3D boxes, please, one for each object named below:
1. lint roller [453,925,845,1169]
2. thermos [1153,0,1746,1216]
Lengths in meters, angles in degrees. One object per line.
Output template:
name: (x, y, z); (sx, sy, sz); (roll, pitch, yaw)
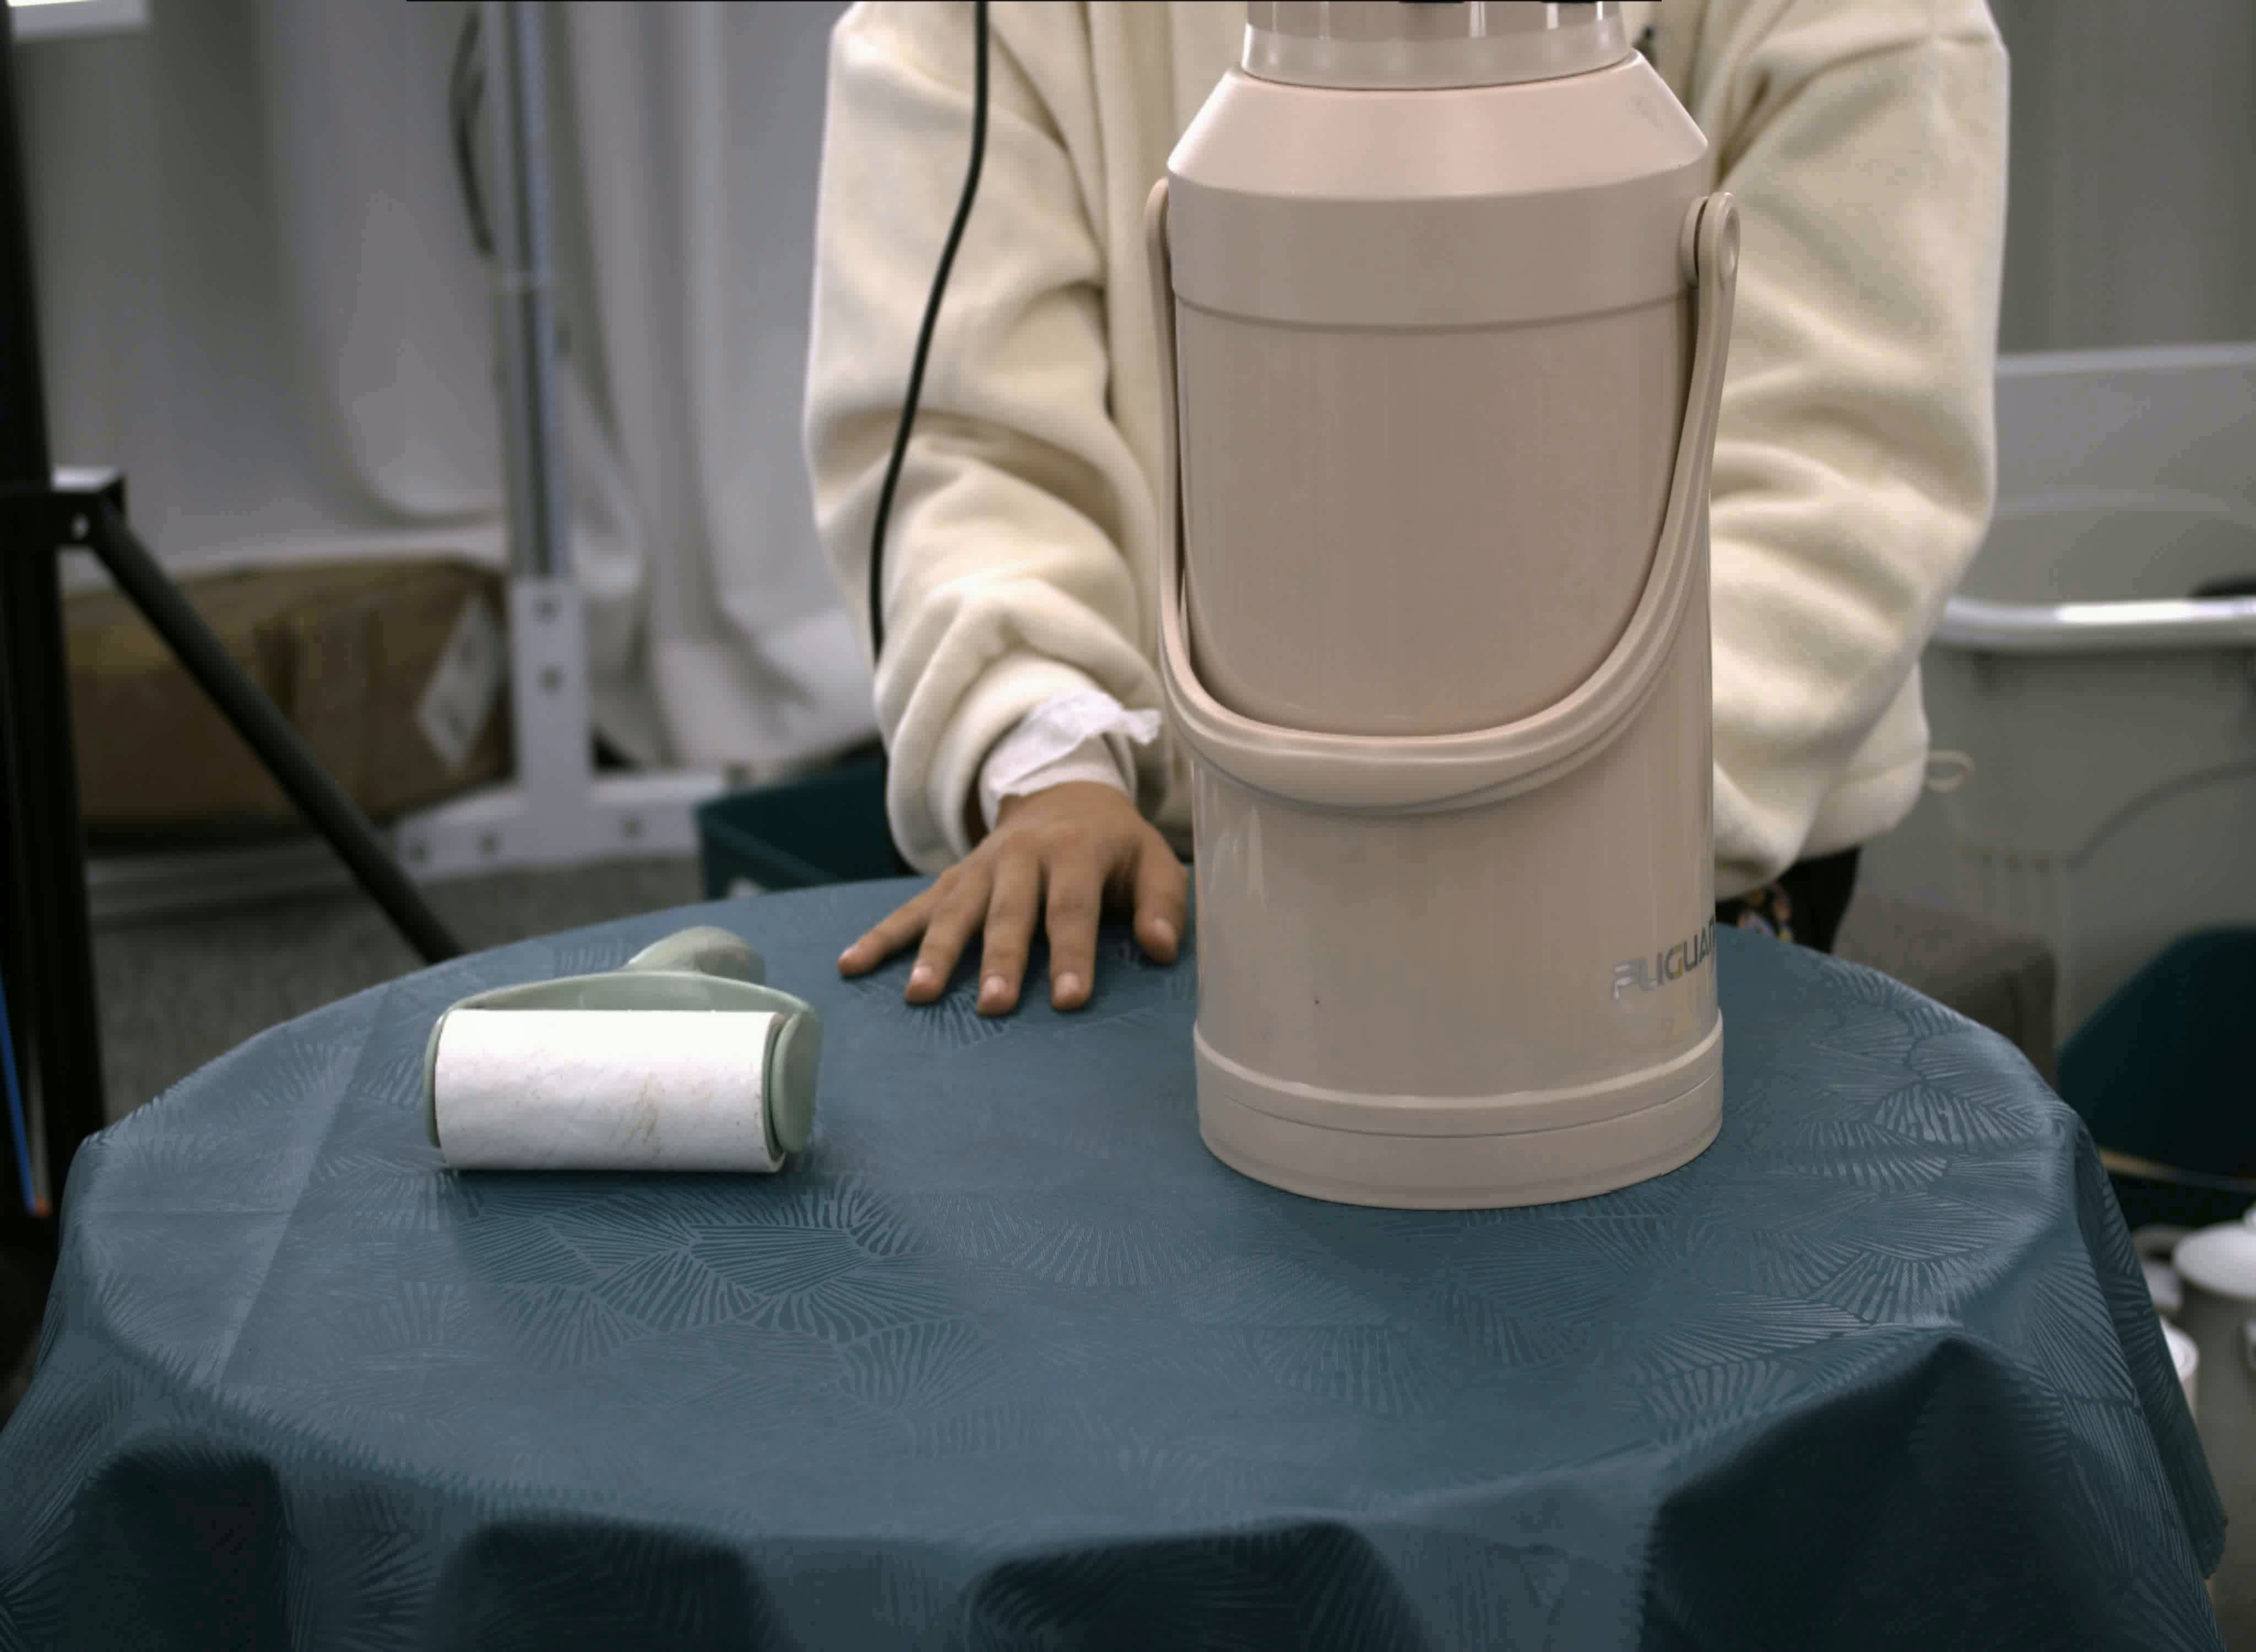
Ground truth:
lint roller: (-0.134, 0.059, 1.665); (0.117, 0.048, 0.197); (-2, 16, 10)
thermos: (0.100, -0.103, 1.564); (0.178, 0.406, 0.204); (4, 16, 23)
